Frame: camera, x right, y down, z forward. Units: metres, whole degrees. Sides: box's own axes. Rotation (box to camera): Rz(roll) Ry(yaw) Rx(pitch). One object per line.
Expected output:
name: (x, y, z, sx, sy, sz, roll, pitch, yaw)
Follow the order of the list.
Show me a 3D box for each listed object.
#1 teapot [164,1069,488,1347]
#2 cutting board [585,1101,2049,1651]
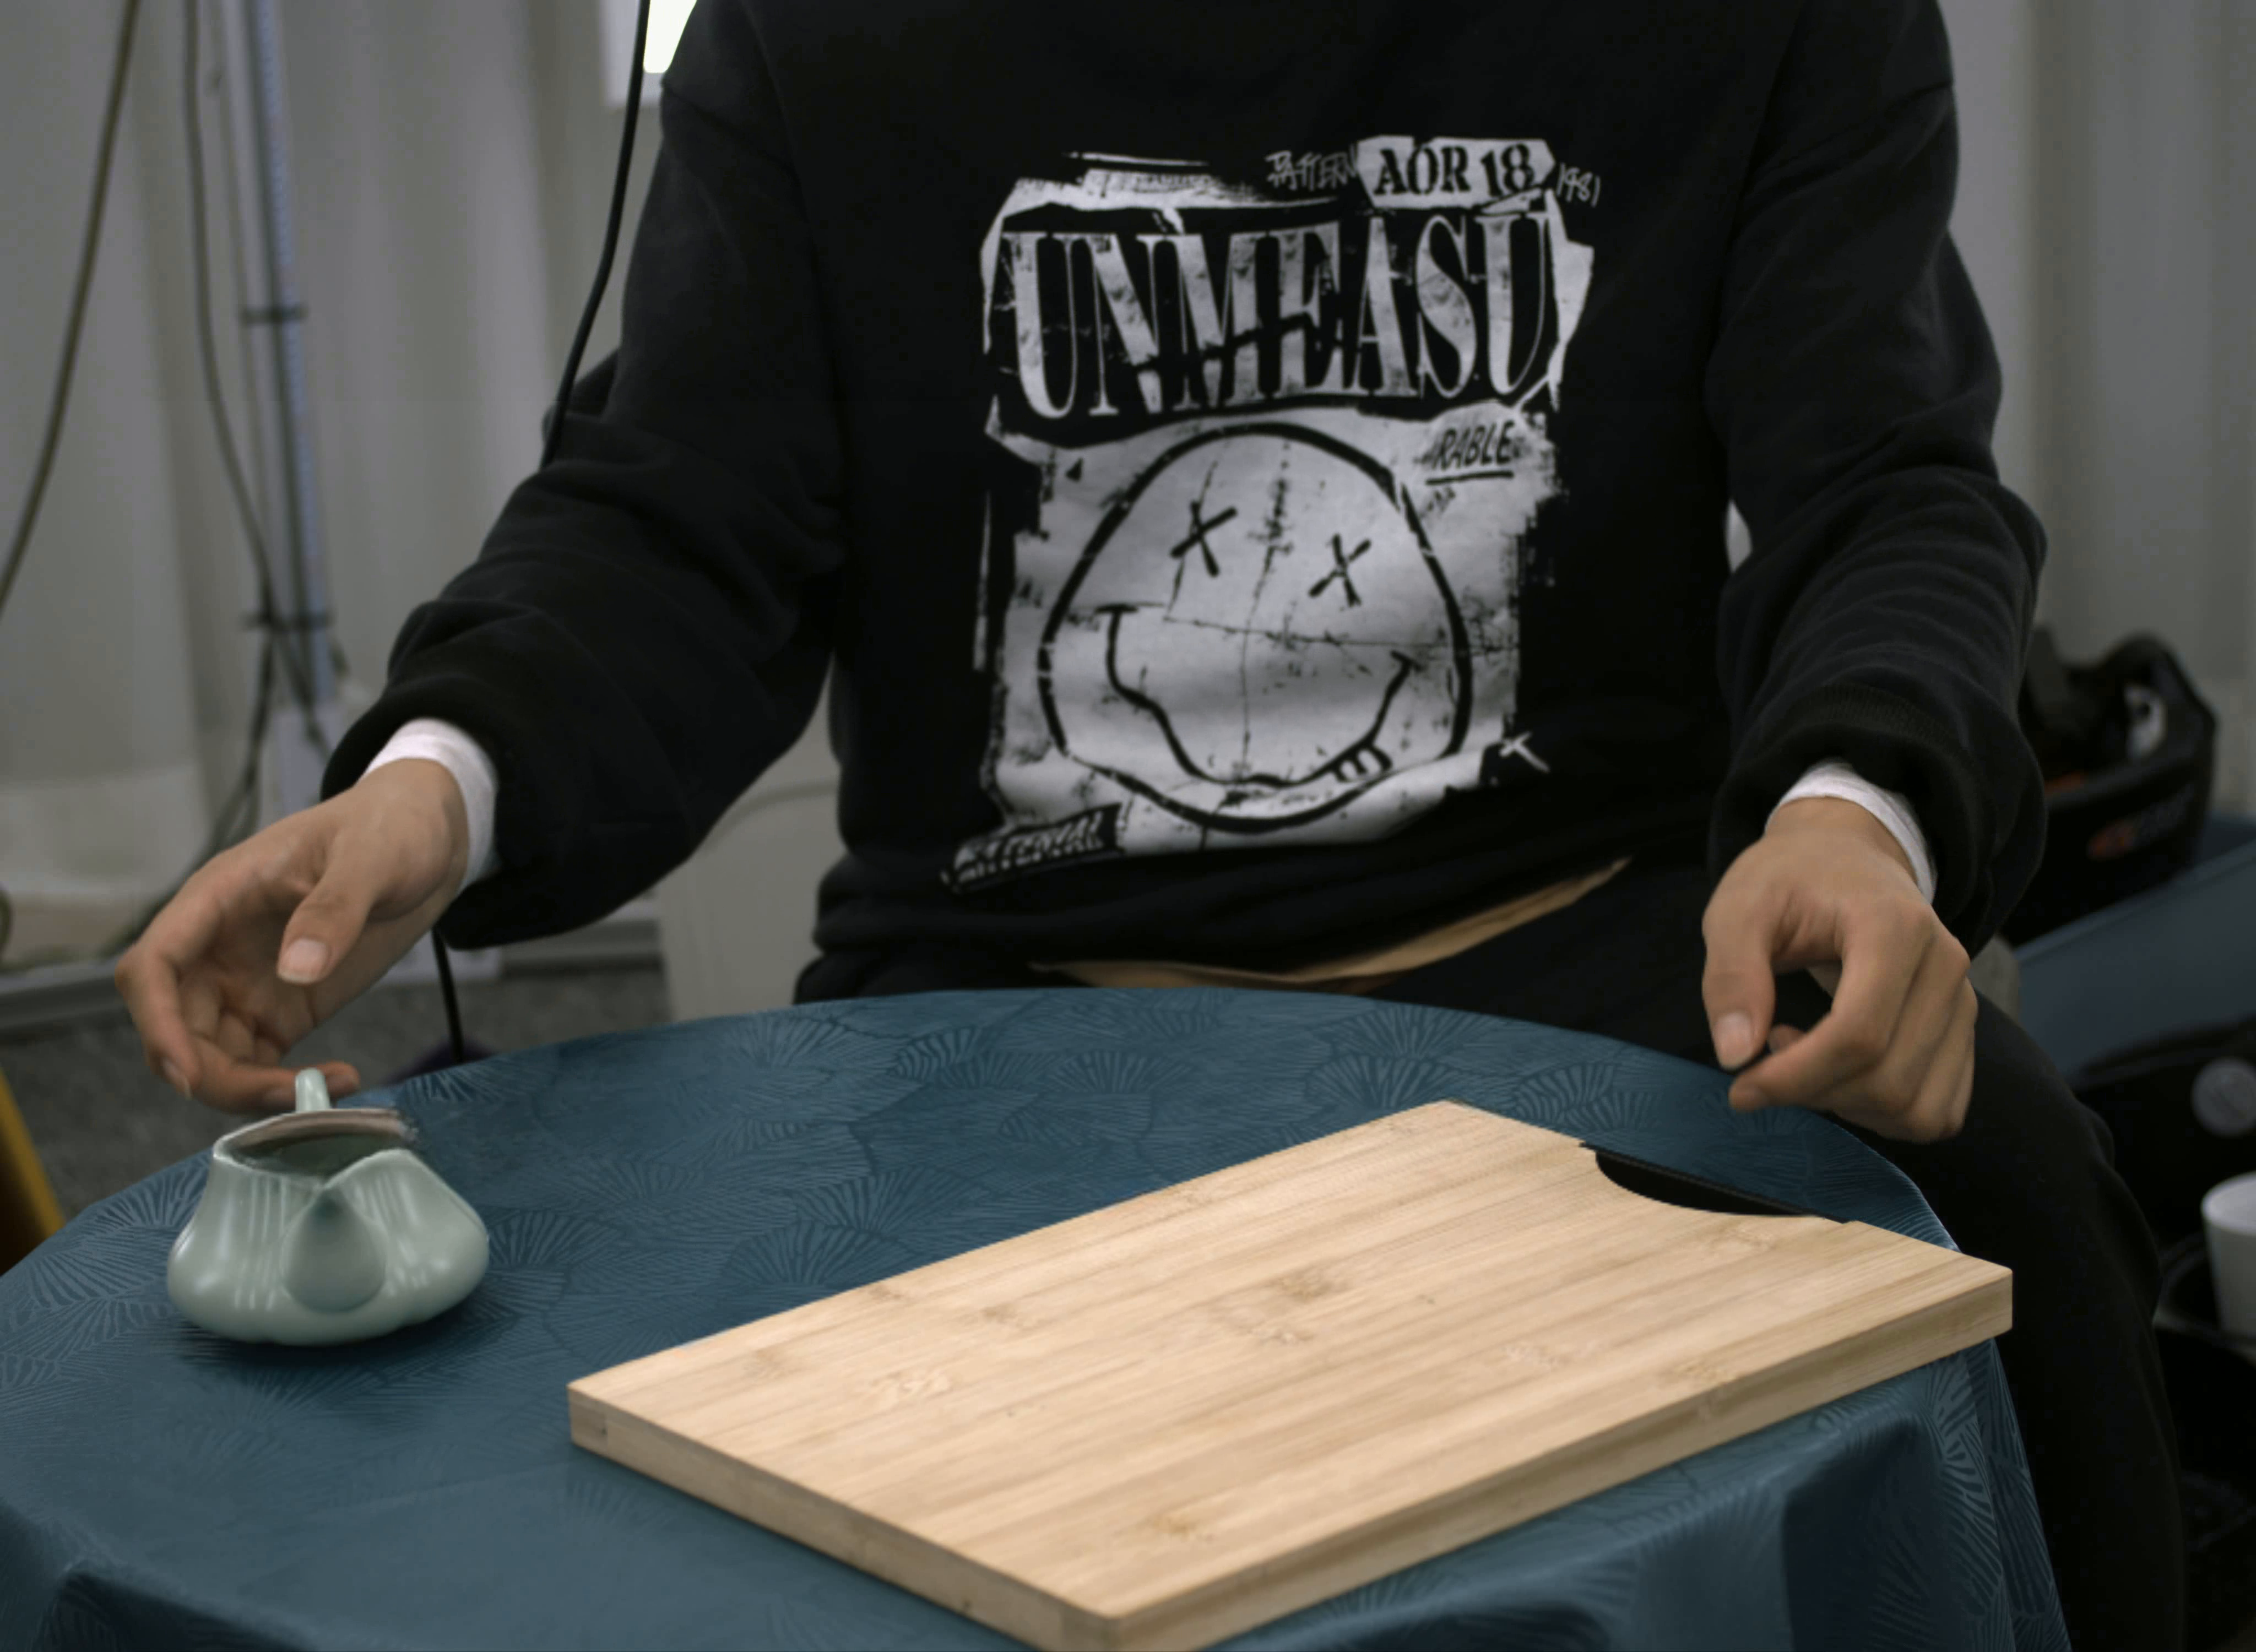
teapot: (-0.241, 0.117, 1.635, 0.096, 0.061, 0.138, -7, 16, -12)
cutting board: (0.053, 0.150, 1.542, 0.348, 0.023, 0.252, -15, 19, -39)
